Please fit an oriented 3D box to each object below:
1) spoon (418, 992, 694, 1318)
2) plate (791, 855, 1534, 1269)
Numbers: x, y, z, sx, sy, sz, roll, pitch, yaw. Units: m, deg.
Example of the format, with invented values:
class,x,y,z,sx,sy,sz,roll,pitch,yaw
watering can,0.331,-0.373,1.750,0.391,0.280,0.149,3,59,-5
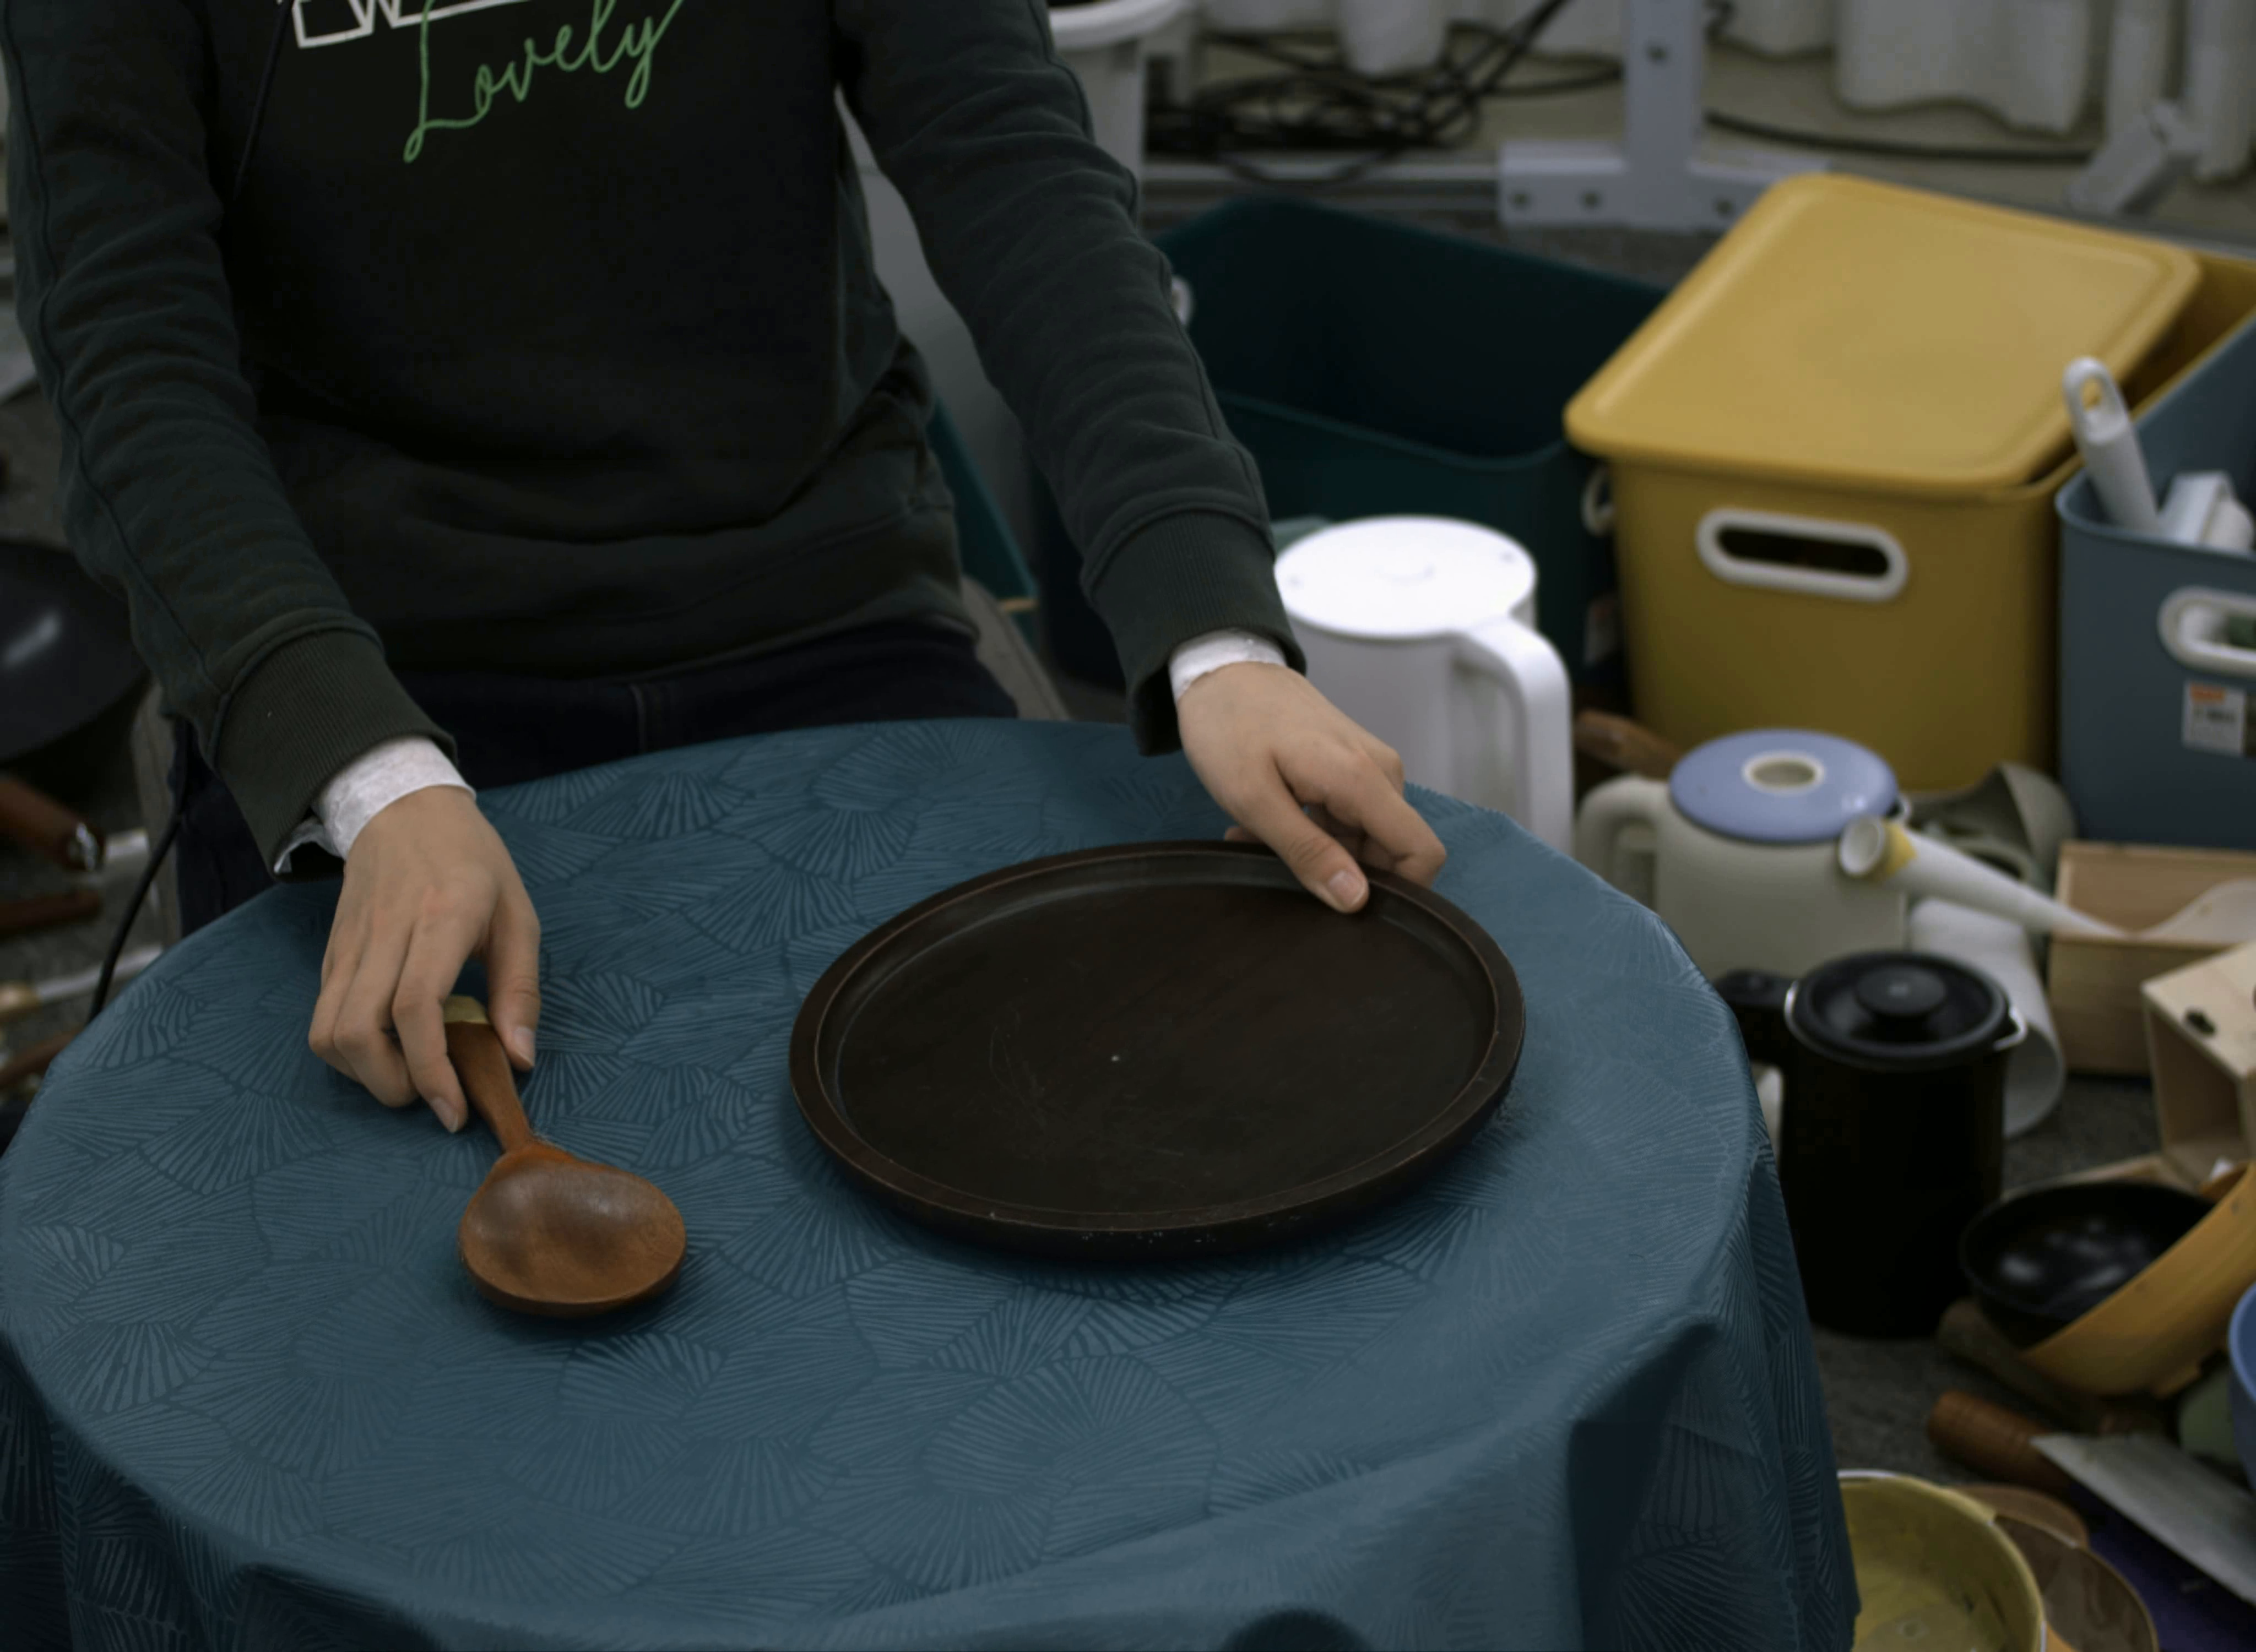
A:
class,x,y,z,sx,sy,sz,roll,pitch,yaw
spoon,-0.201,0.111,1.881,0.075,0.017,0.218,-11,29,-17
plate,0.011,0.078,1.915,0.253,0.029,0.259,-2,29,2
